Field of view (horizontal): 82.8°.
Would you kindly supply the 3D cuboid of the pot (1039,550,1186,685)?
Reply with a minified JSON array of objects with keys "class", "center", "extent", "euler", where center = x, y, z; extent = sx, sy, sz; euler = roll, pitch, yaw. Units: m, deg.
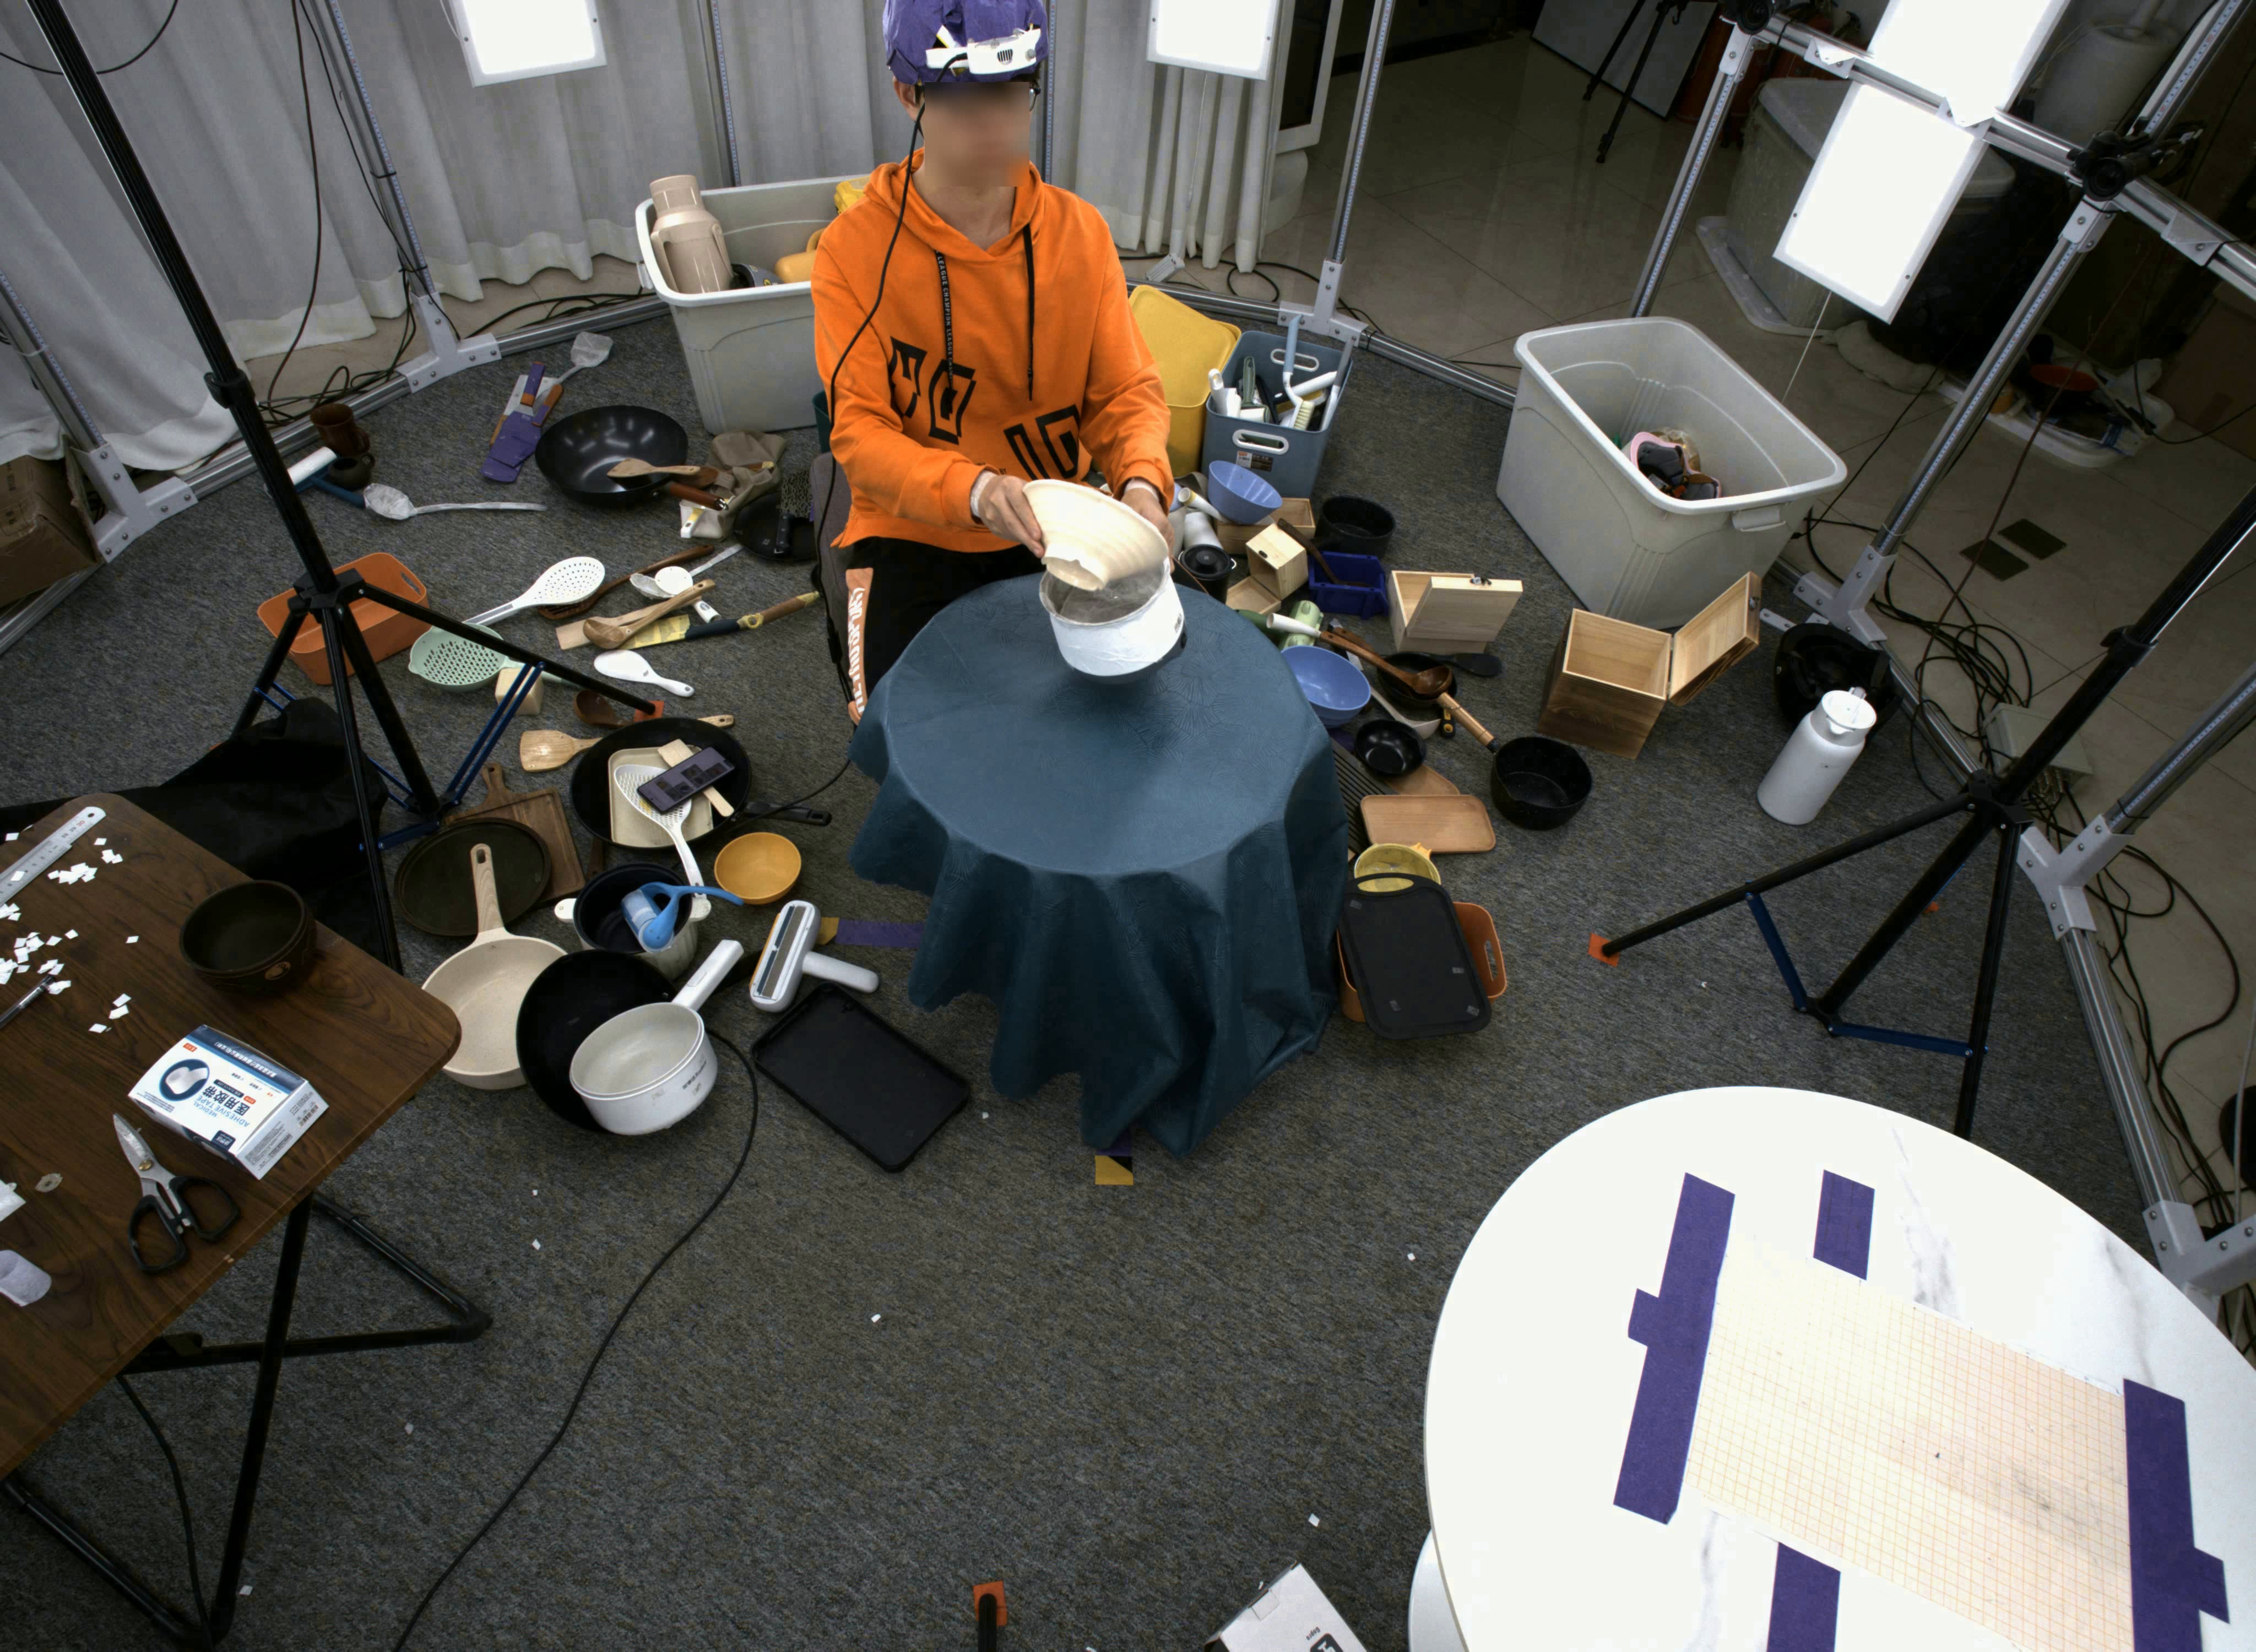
[{"class":"pot","center":[-0.011,-0.313,1.752],"extent":[0.179,0.133,0.238],"euler":[4,54,19]}]

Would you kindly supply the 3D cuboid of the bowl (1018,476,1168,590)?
[{"class":"bowl","center":[-0.056,-0.355,1.634],"extent":[0.205,0.201,0.078],"euler":[19,80,11]}]
